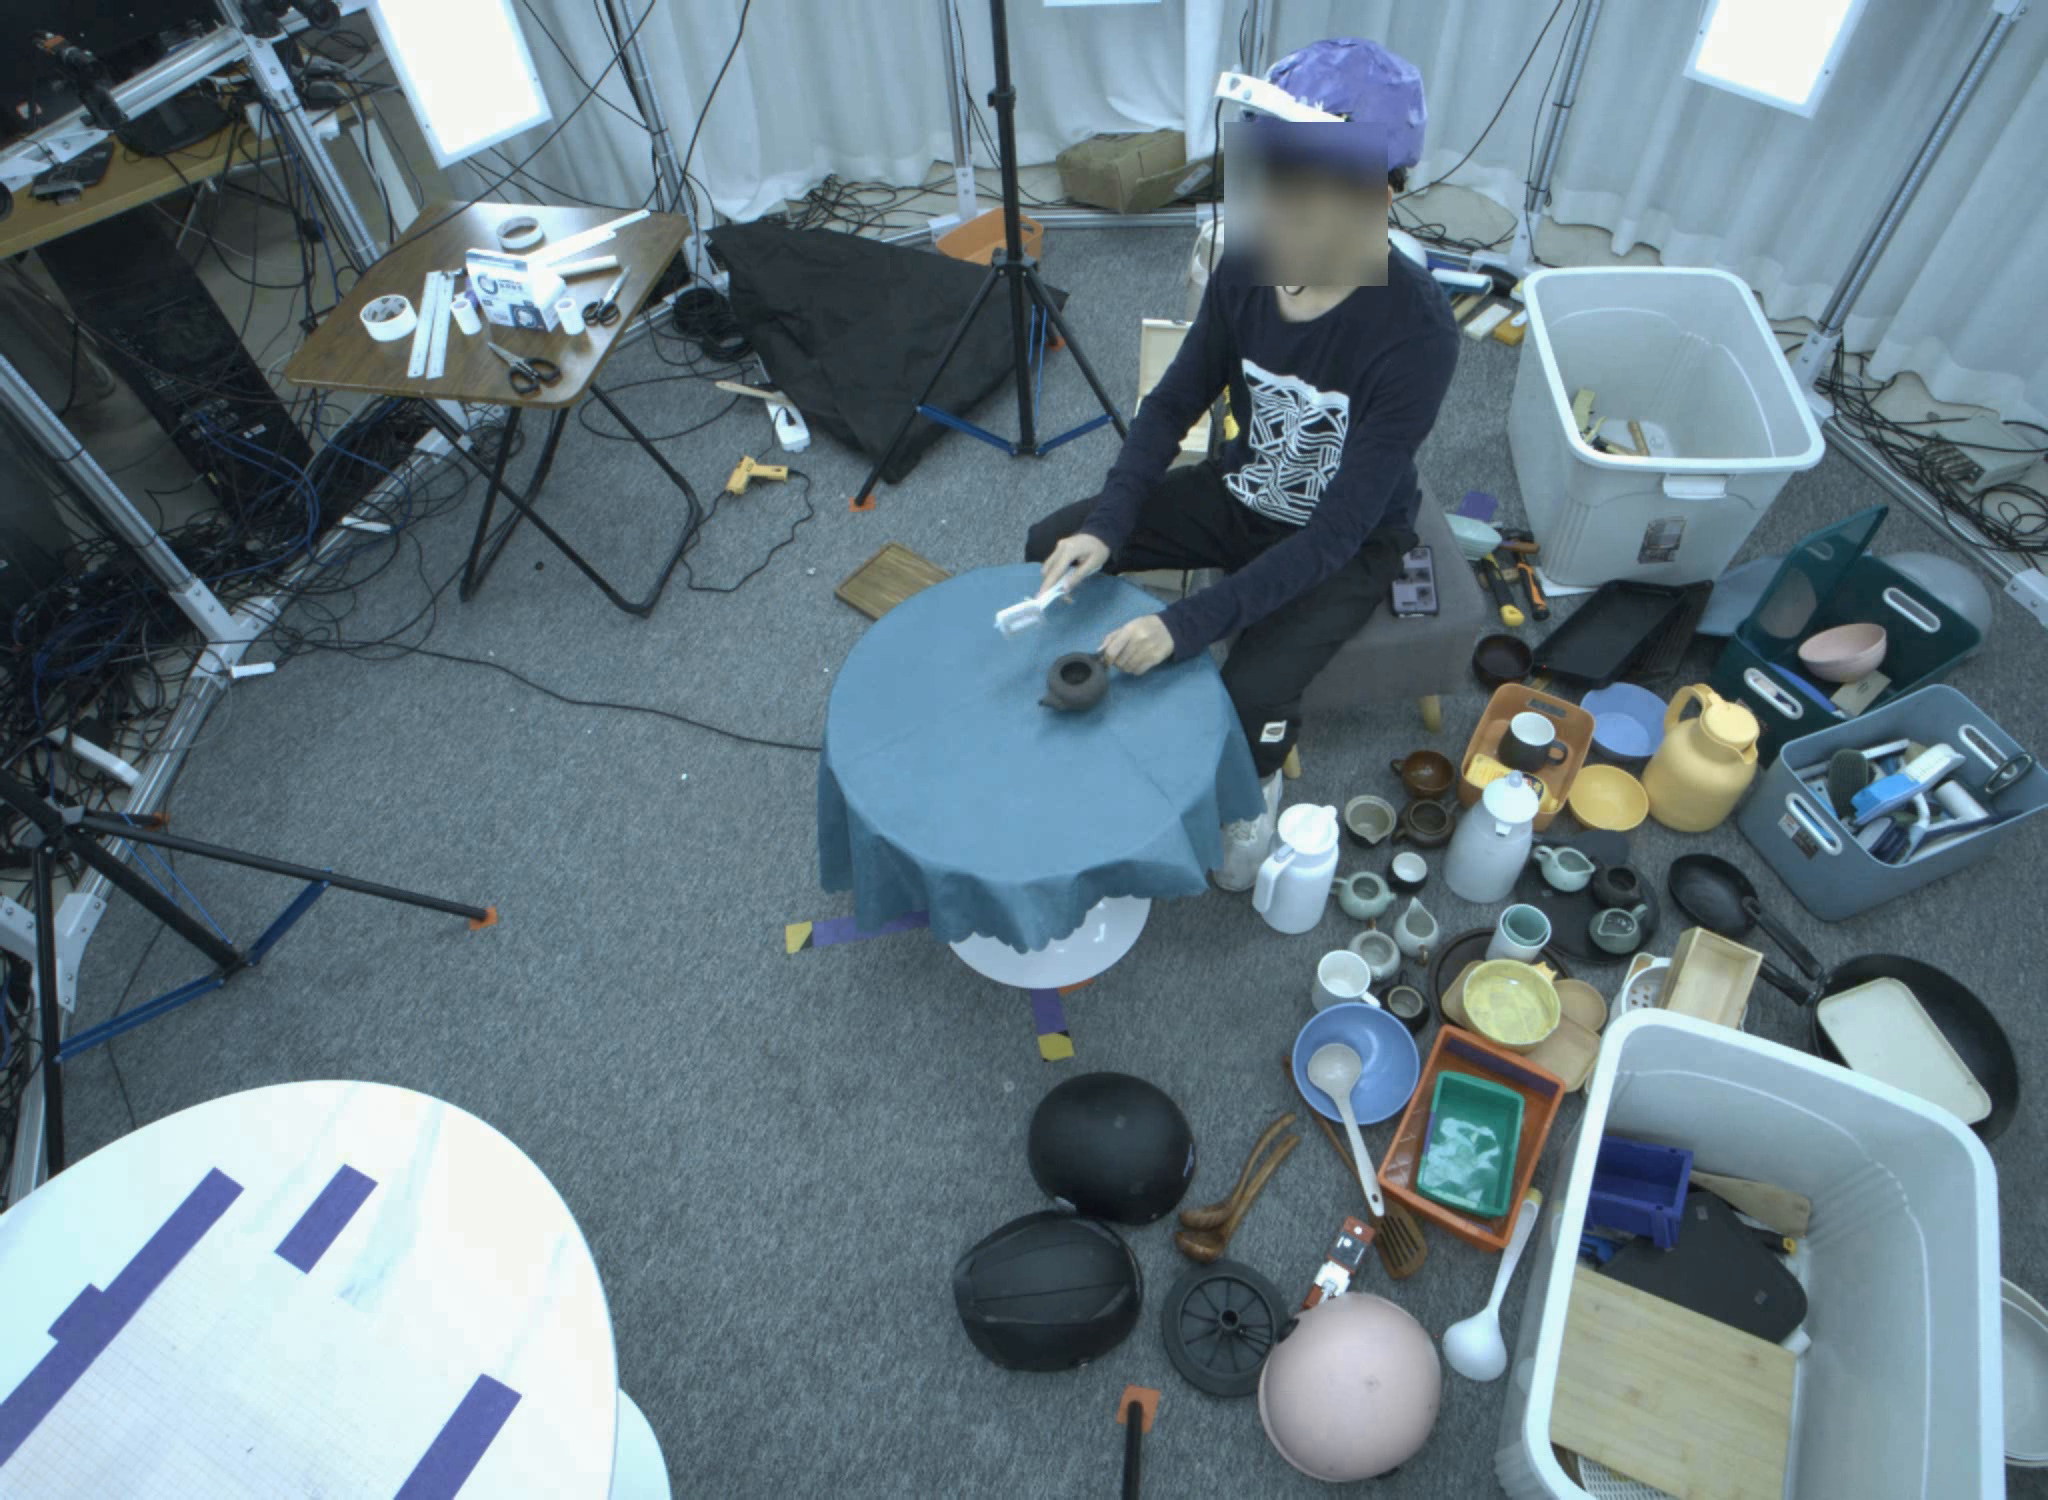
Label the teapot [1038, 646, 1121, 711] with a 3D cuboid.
[{"bbox_3d":[0.082,-0.101,1.808,0.155,0.065,0.090,-38,59,-15],"label":"teapot"}]

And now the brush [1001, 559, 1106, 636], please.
[{"bbox_3d":[0.058,-0.234,1.863,0.049,0.035,0.246,25,43,36],"label":"brush"}]
